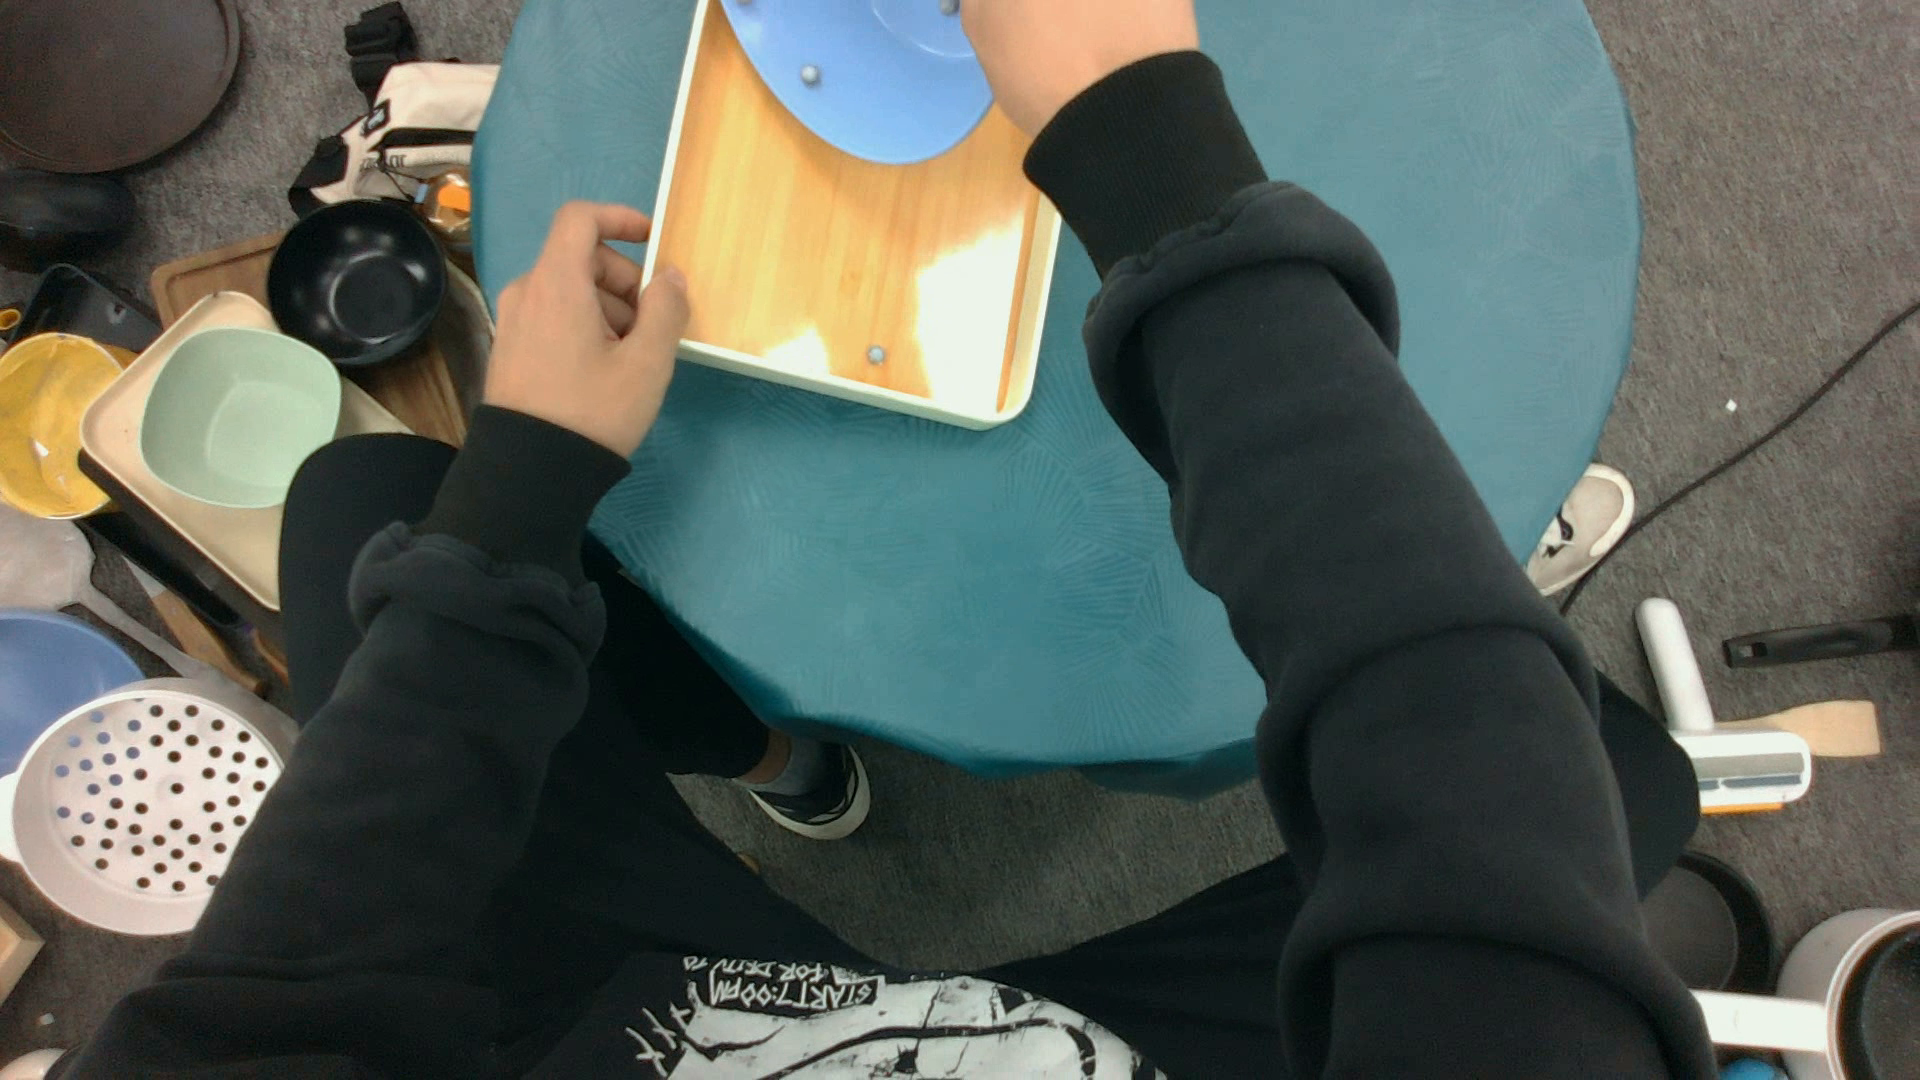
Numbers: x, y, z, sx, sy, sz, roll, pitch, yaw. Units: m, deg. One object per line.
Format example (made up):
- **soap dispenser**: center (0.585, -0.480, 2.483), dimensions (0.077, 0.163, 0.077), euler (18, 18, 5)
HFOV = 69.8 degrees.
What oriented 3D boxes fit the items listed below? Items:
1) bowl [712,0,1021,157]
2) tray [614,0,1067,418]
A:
- **bowl**: center (-0.034, -0.262, 0.598), dimensions (0.176, 0.175, 0.070), euler (48, 53, 6)
- **tray**: center (-0.049, -0.221, 0.676), dimensions (0.192, 0.027, 0.301), euler (12, 79, -17)
